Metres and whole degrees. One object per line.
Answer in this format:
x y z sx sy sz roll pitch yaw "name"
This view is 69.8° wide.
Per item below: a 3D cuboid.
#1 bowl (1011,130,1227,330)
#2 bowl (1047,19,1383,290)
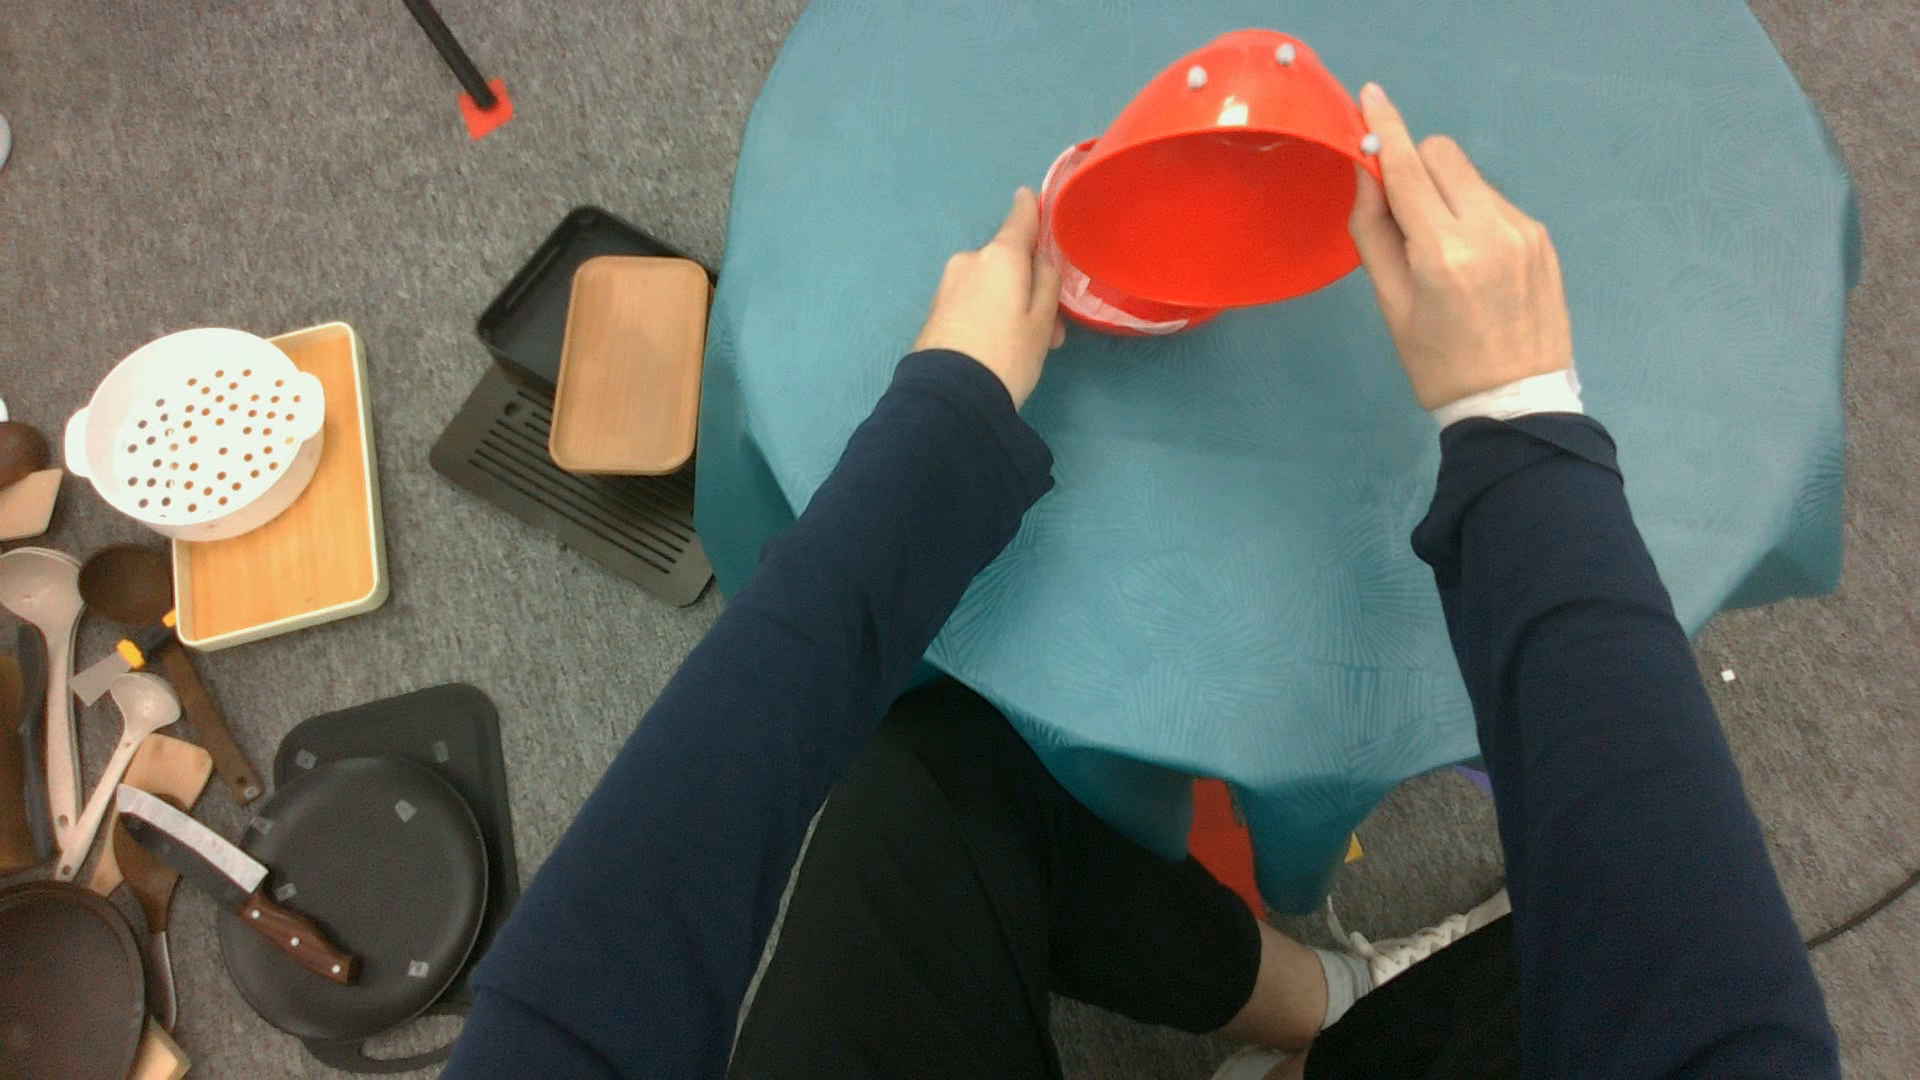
0.082 -0.155 0.726 0.119 0.051 0.119 0 74 1 "bowl"
0.120 -0.184 0.633 0.148 0.147 0.105 8 67 6 "bowl"
